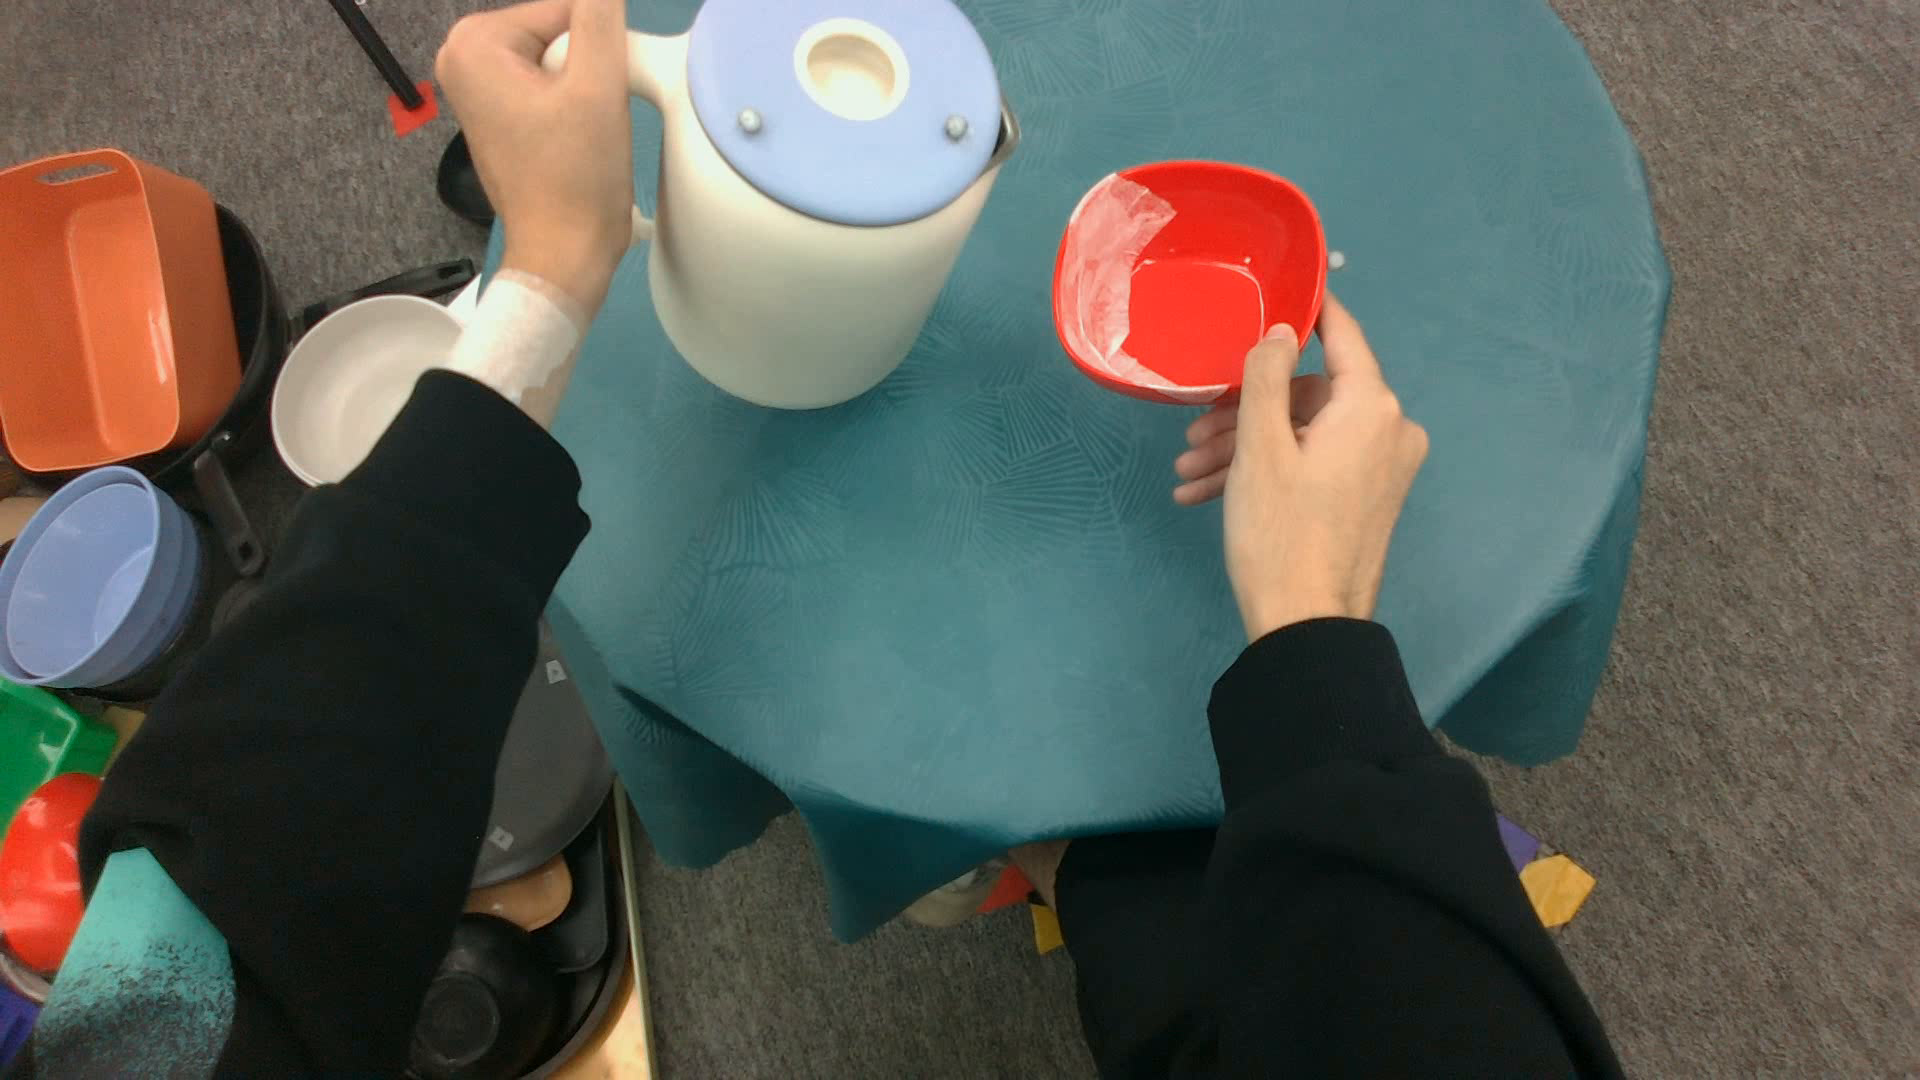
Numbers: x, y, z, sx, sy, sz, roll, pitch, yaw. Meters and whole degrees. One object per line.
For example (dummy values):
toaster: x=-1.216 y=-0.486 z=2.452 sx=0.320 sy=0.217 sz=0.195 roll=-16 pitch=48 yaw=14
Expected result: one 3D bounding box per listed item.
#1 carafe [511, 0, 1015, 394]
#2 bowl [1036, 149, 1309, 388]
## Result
carafe: x=-0.091 y=-0.158 z=0.579 sx=0.191 sy=0.182 sz=0.132 roll=11 pitch=68 yaw=-12
bowl: x=0.090 y=-0.107 z=0.587 sx=0.119 sy=0.051 sz=0.119 roll=-3 pitch=65 yaw=6
